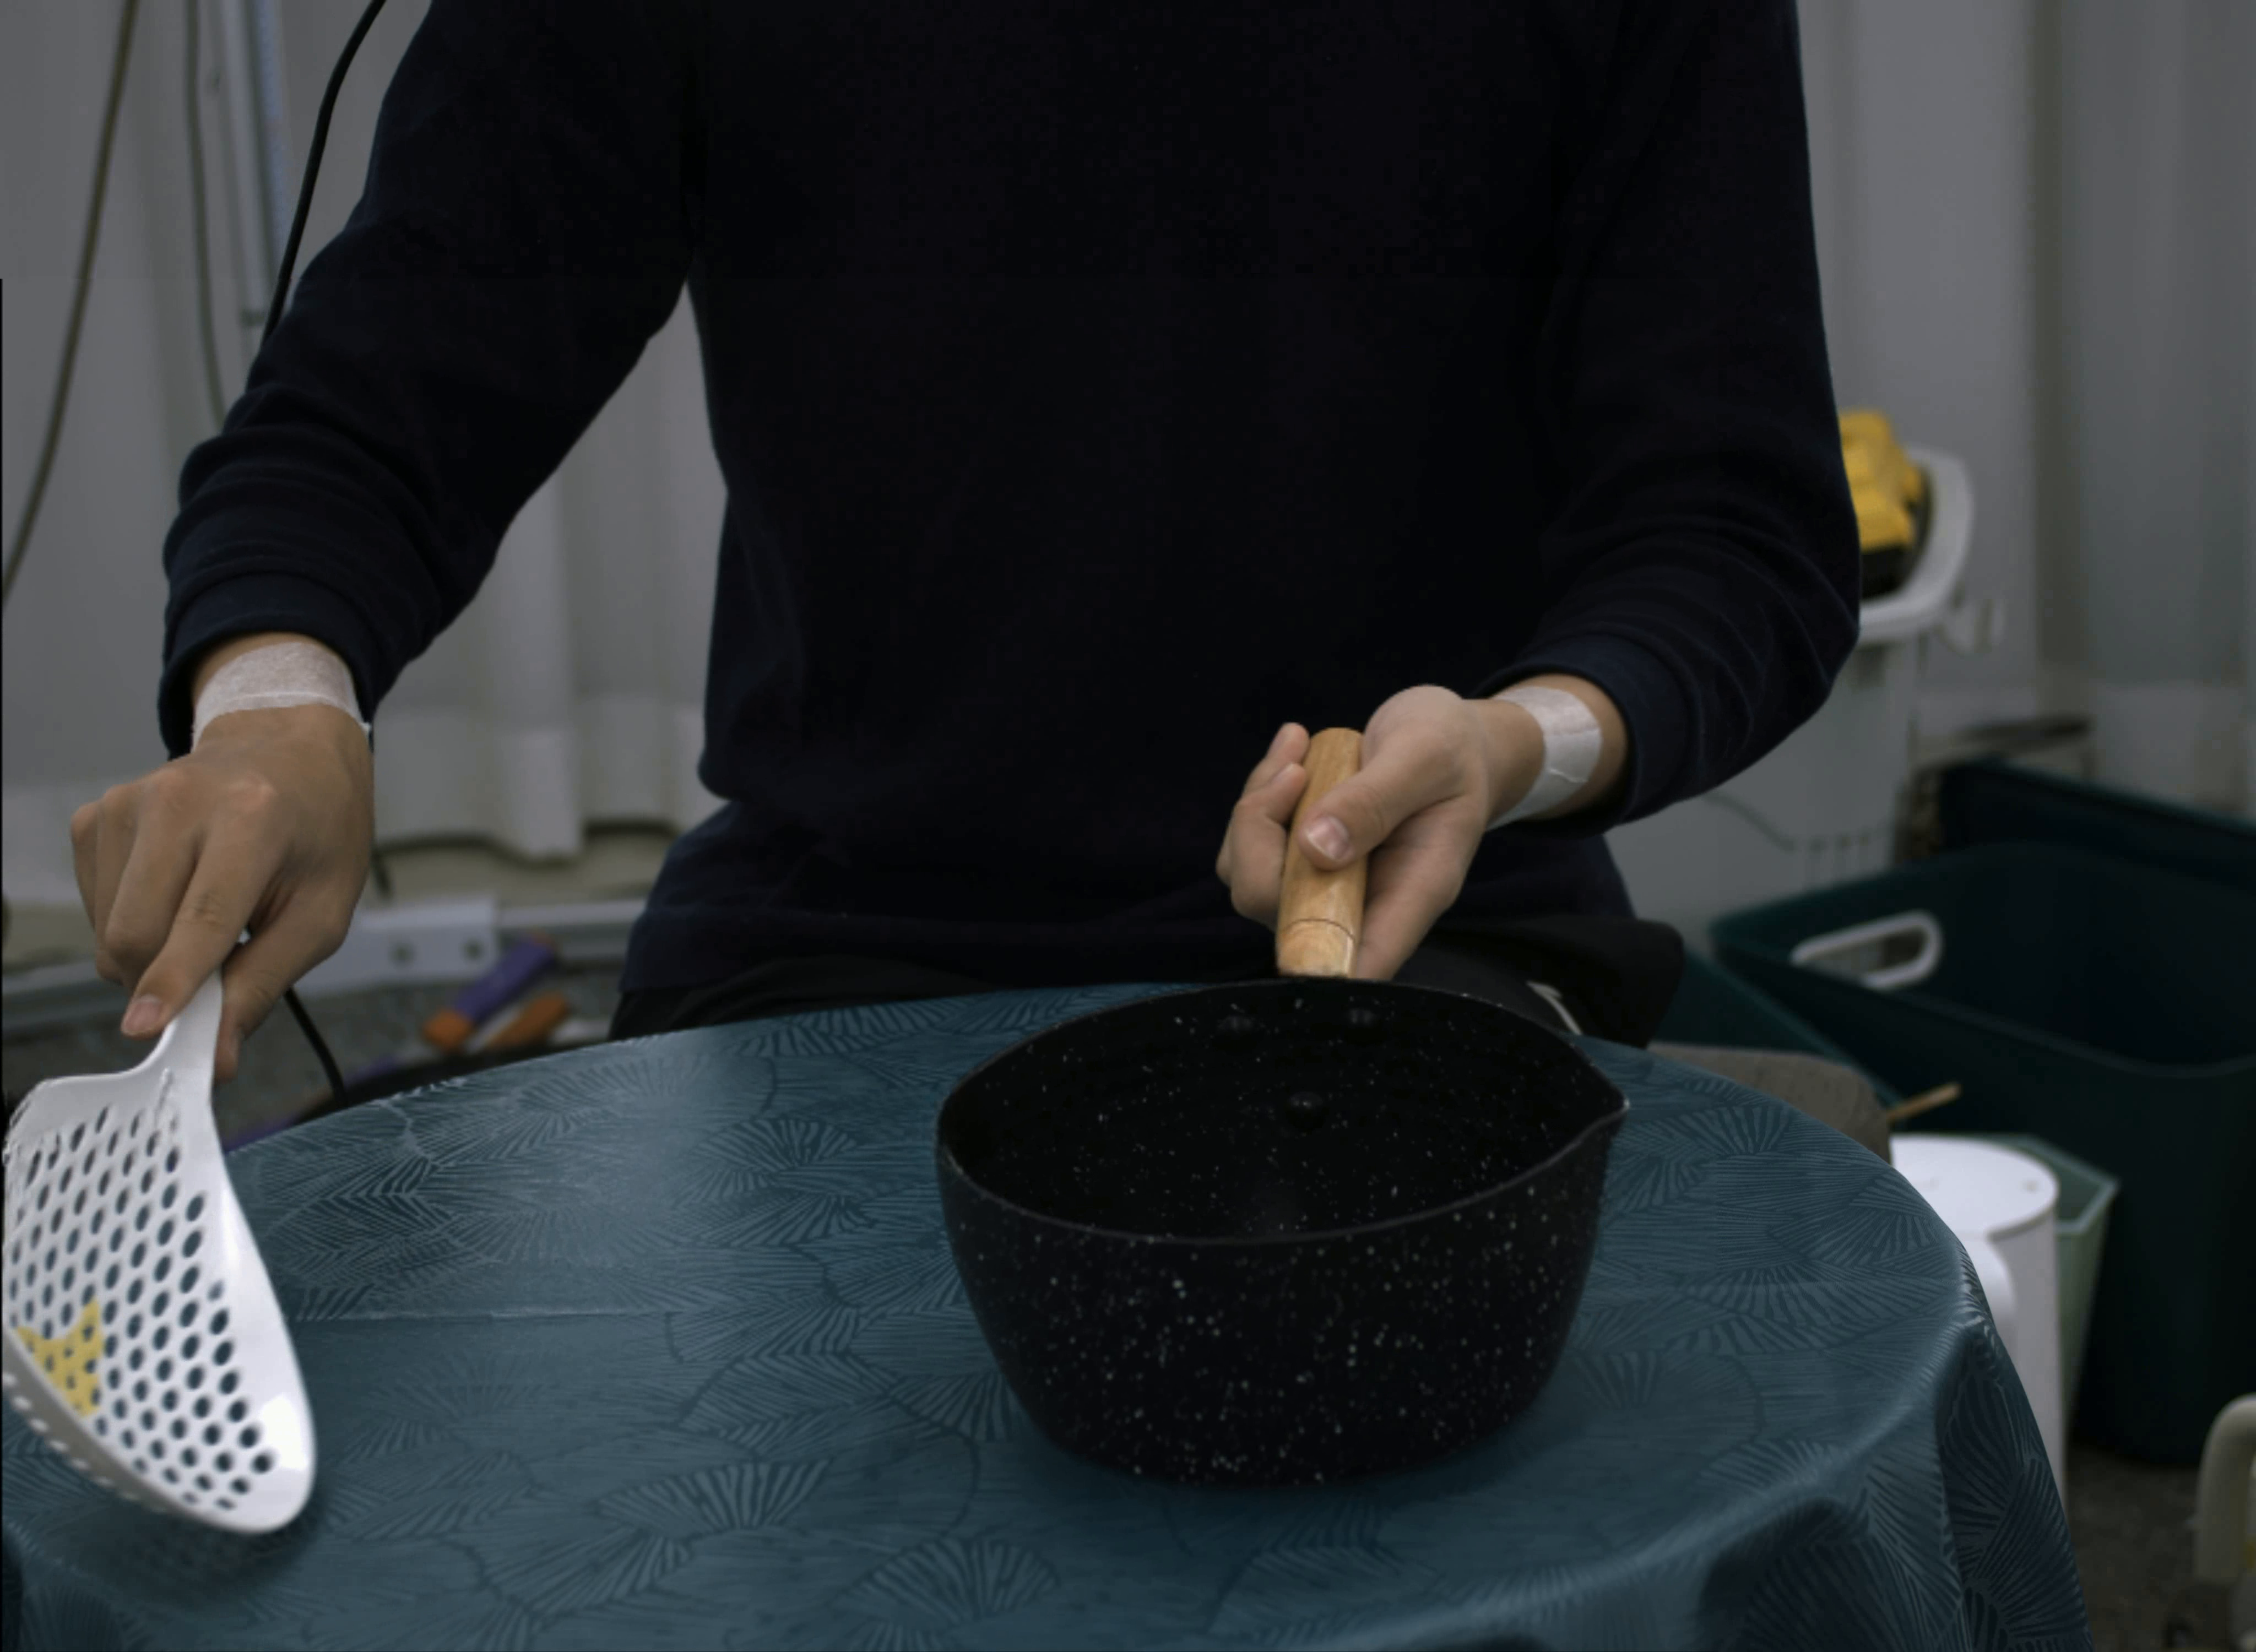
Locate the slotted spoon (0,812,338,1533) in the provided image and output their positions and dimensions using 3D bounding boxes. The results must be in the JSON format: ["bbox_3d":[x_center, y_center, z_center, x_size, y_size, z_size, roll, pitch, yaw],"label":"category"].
[{"bbox_3d":[-0.280,0.083,1.563,0.050,0.135,0.352,-37,26,18],"label":"slotted spoon"}]

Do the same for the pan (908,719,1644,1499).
[{"bbox_3d":[0.050,0.077,1.593,0.207,0.107,0.346,-3,21,8],"label":"pan"}]
